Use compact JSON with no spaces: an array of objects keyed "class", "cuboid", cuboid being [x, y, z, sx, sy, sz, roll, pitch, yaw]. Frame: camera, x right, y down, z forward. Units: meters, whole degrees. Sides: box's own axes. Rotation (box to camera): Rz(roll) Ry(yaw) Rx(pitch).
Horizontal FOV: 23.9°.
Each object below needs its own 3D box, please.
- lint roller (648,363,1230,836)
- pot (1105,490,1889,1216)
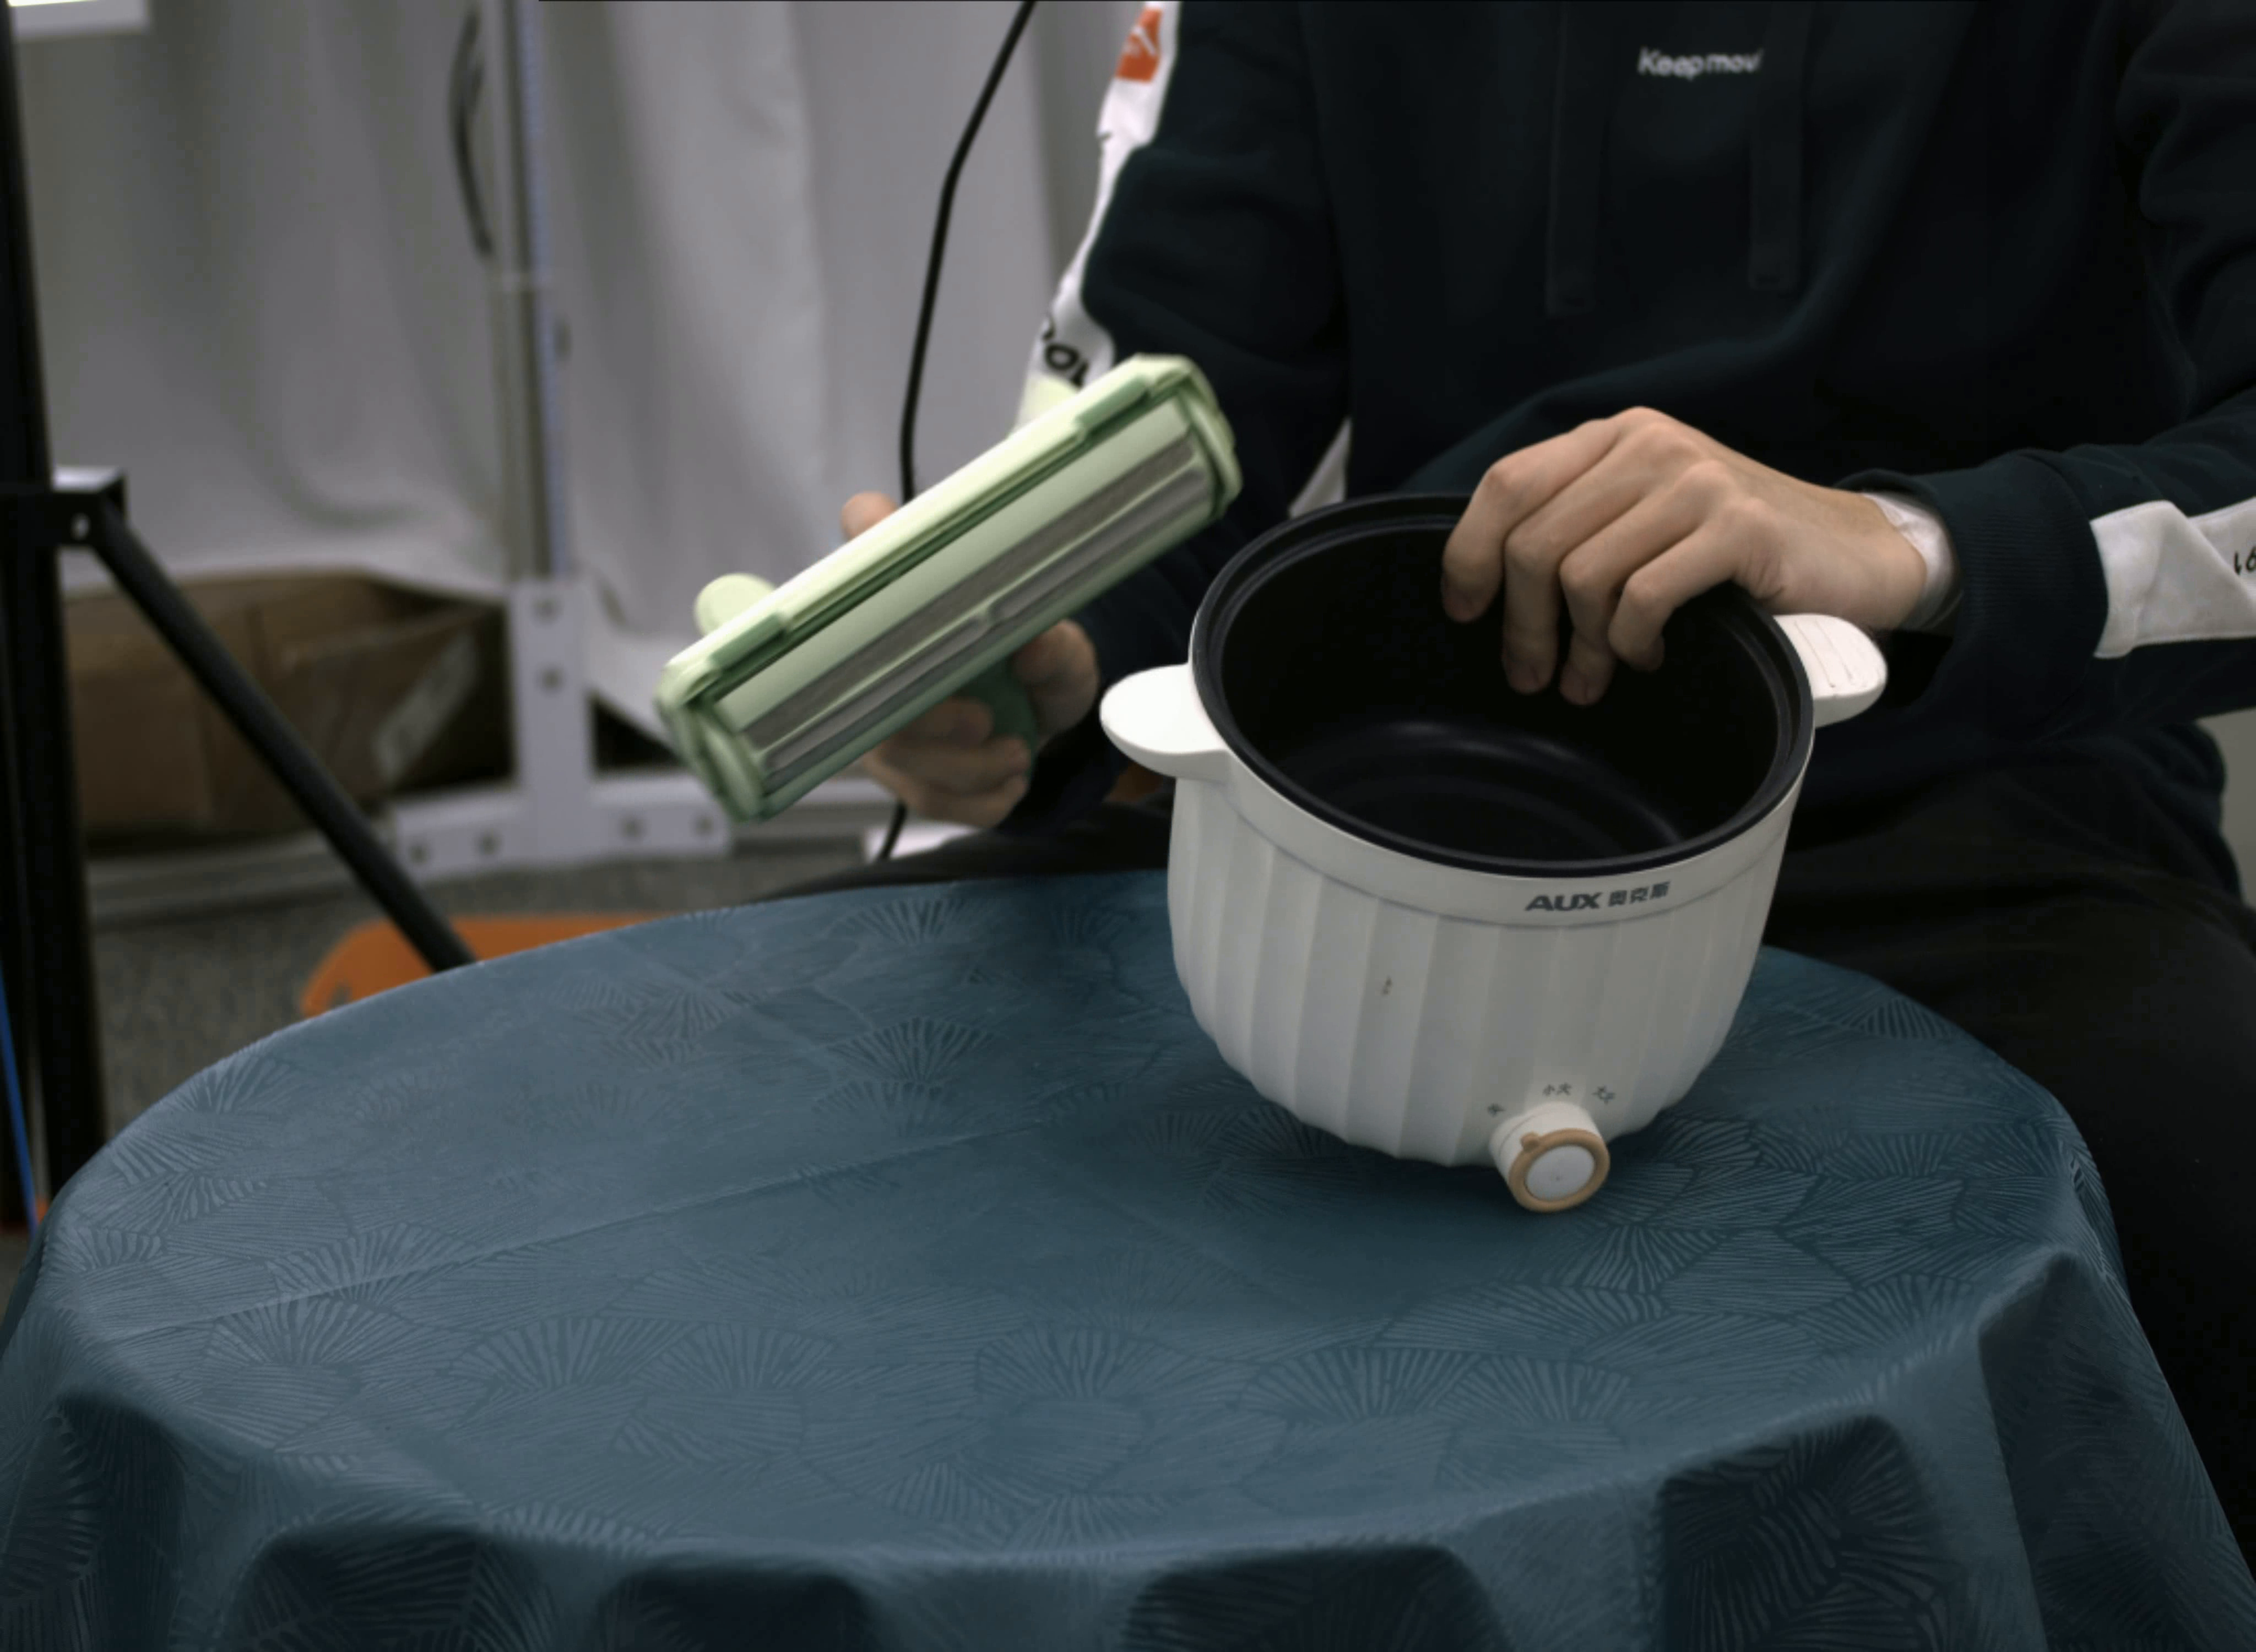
[{"class":"lint roller","cuboid":[-0.064,-0.063,1.709,0.197,0.083,0.183,-34,-12,-10]},{"class":"pot","cuboid":[0.105,0.011,1.560,0.237,0.142,0.194,-6,36,-14]}]
